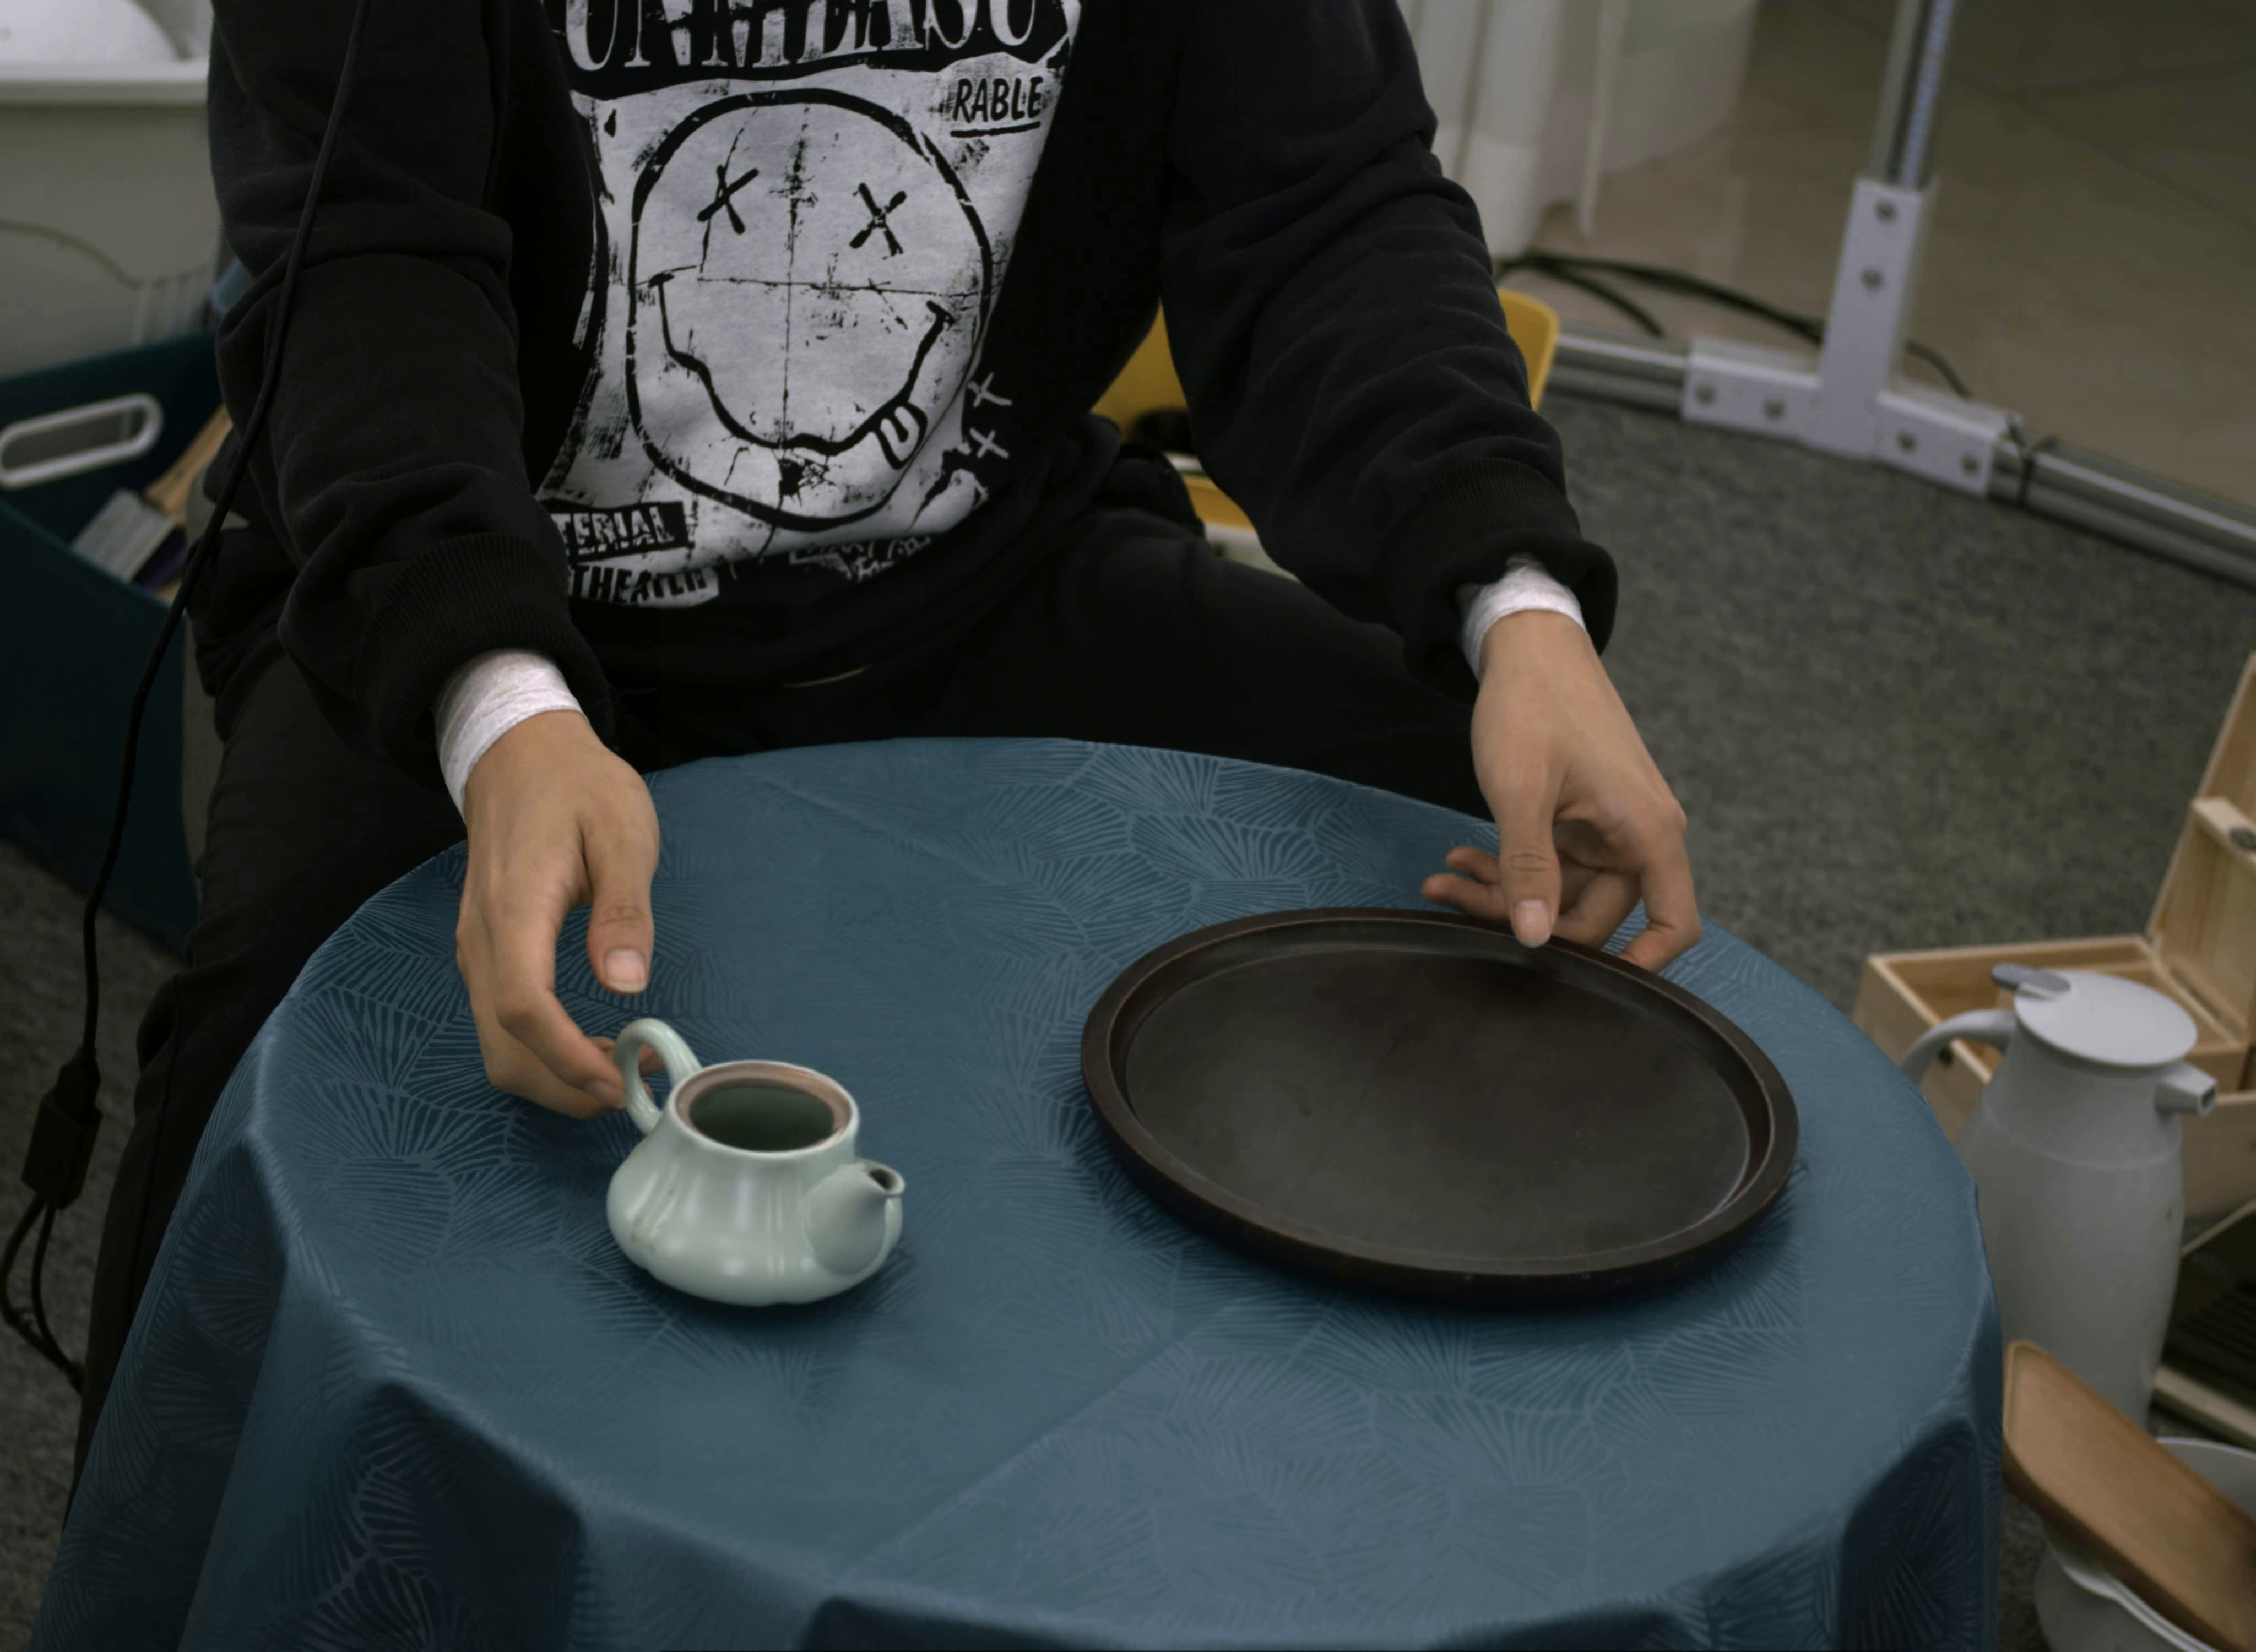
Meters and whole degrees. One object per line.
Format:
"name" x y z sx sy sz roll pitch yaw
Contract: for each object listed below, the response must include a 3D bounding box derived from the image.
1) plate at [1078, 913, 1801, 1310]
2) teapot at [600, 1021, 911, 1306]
"plate" 0.108 0.097 1.855 0.254 0.029 0.256 5 28 -3
"teapot" -0.124 0.112 1.734 0.138 0.061 0.096 28 35 35
